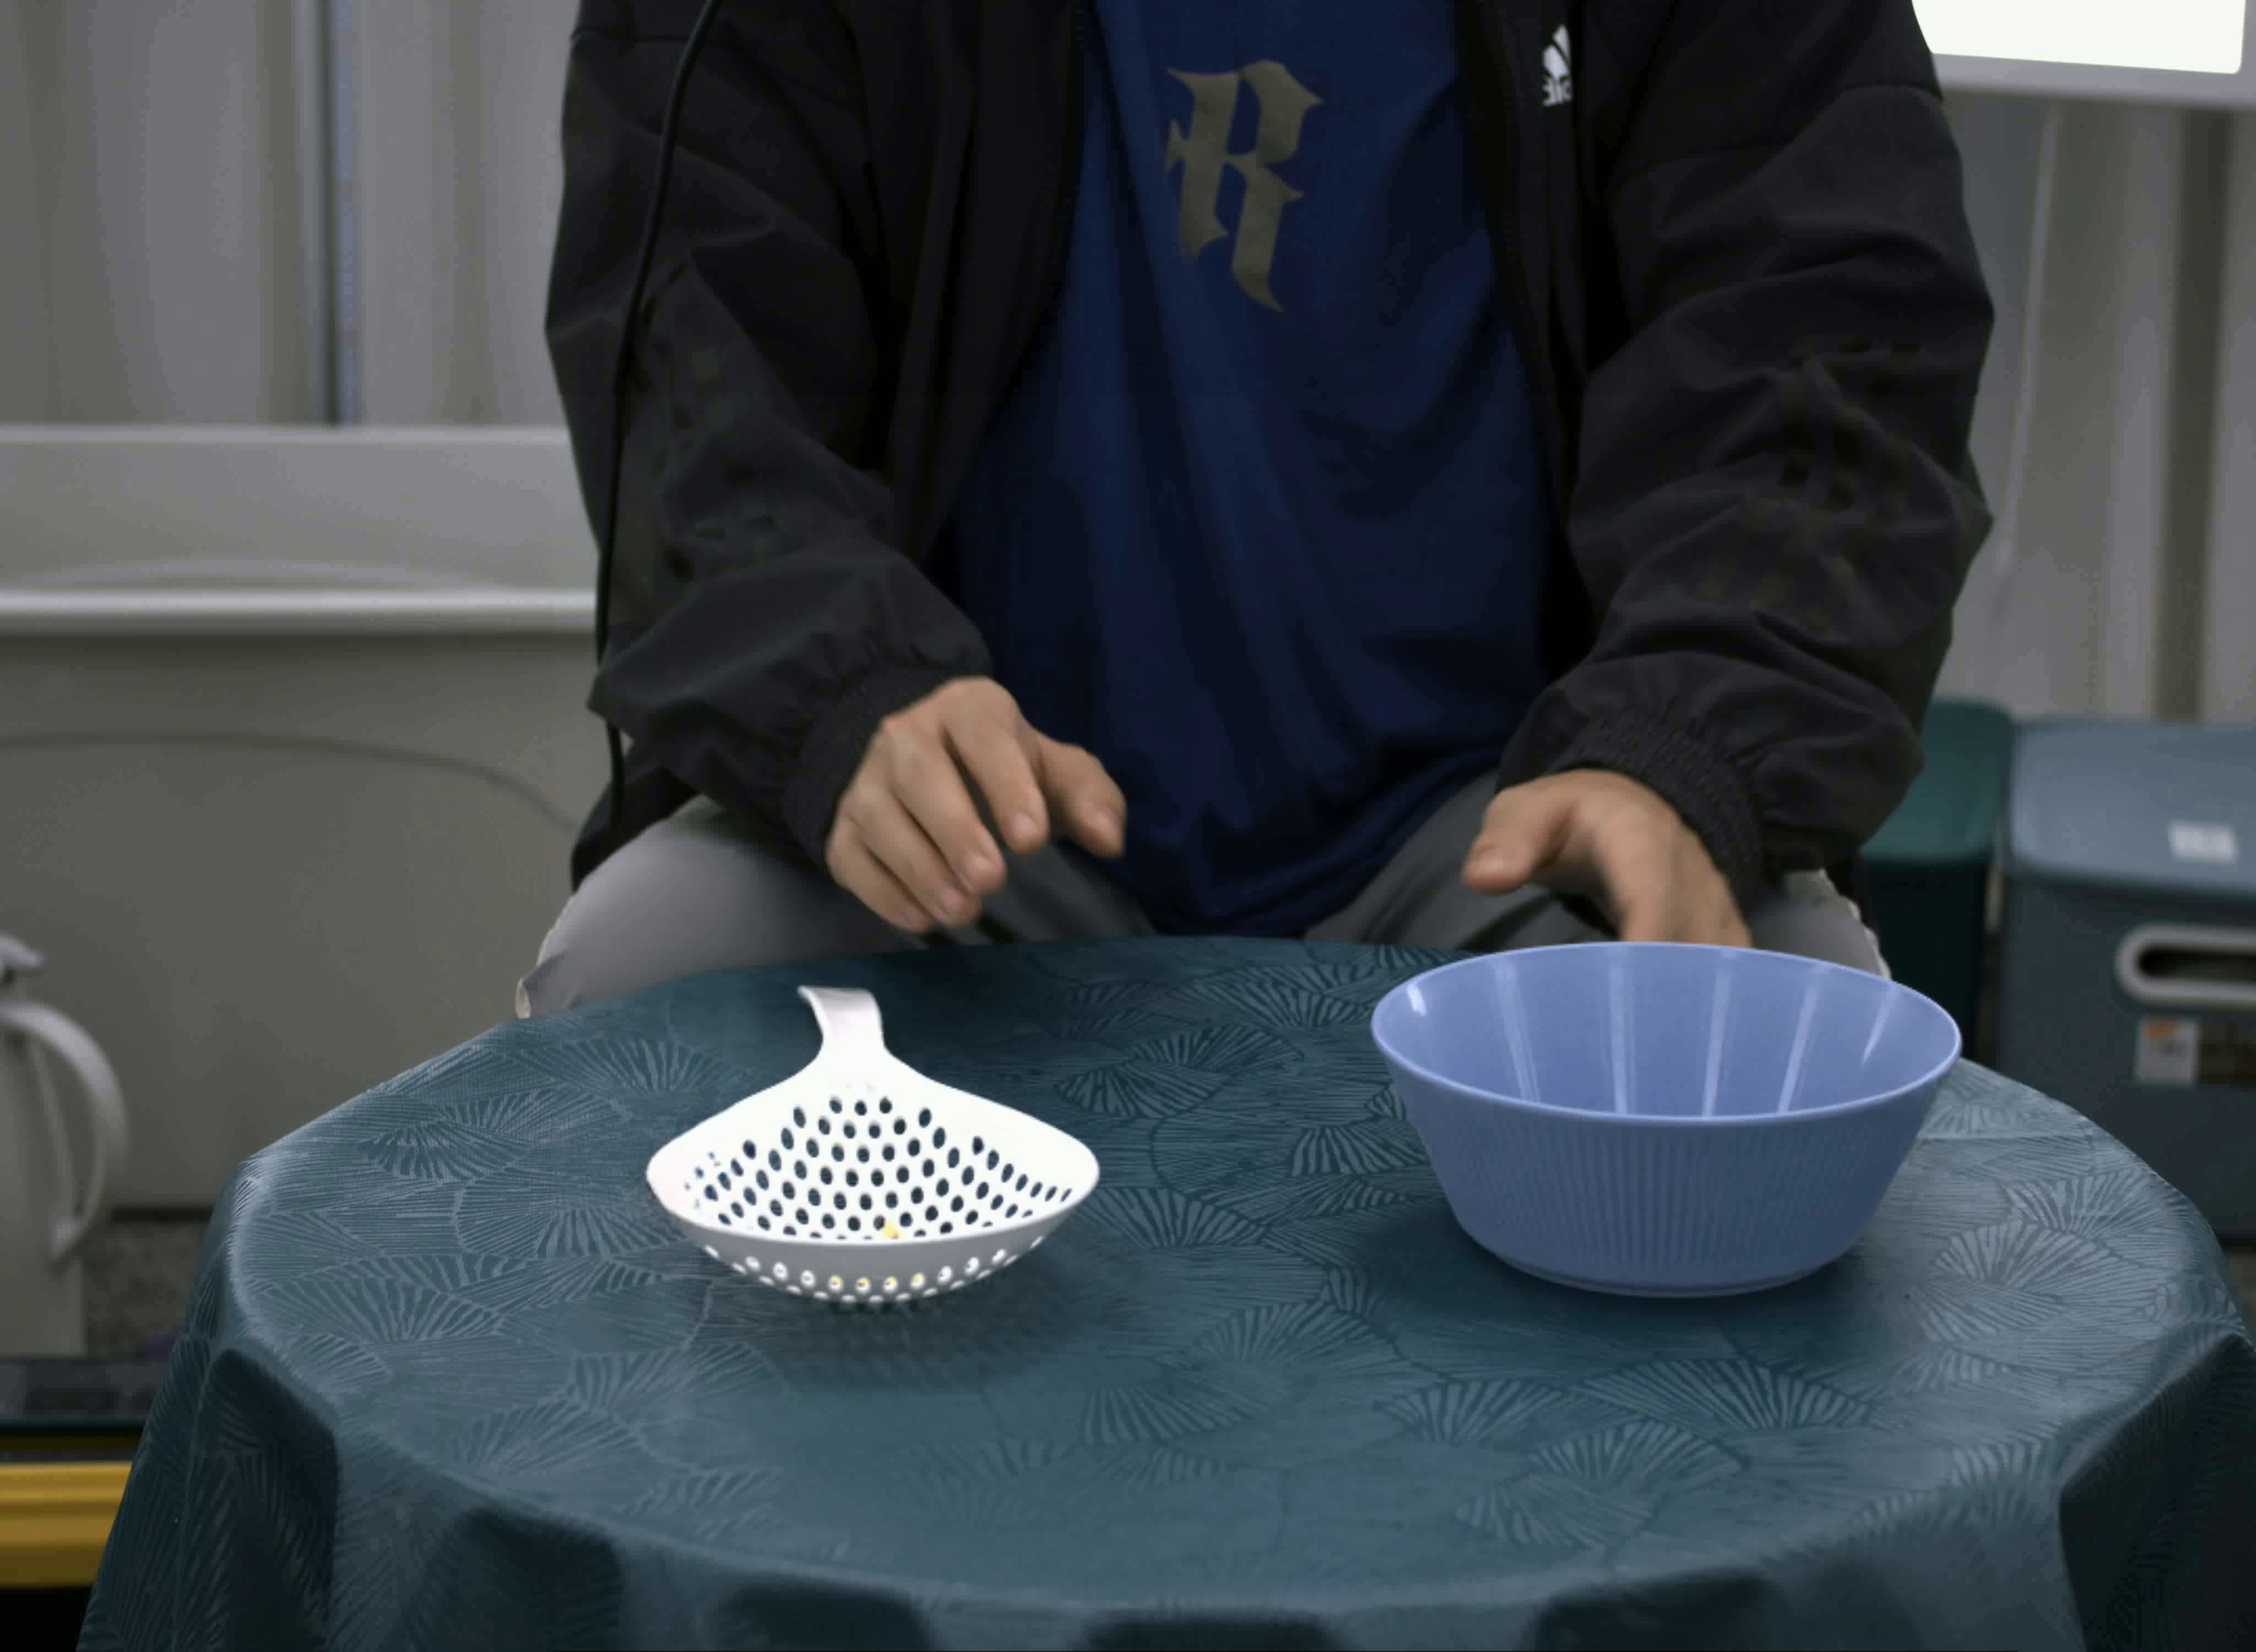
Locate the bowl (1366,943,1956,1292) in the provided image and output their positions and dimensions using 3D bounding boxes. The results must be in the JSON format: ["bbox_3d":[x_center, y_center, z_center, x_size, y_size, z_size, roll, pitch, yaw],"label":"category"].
[{"bbox_3d":[0.158,0.089,1.579,0.175,0.071,0.175,1,15,0],"label":"bowl"}]

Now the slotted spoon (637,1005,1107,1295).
[{"bbox_3d":[-0.086,0.086,1.635,0.136,0.051,0.345,-5,15,-6],"label":"slotted spoon"}]
